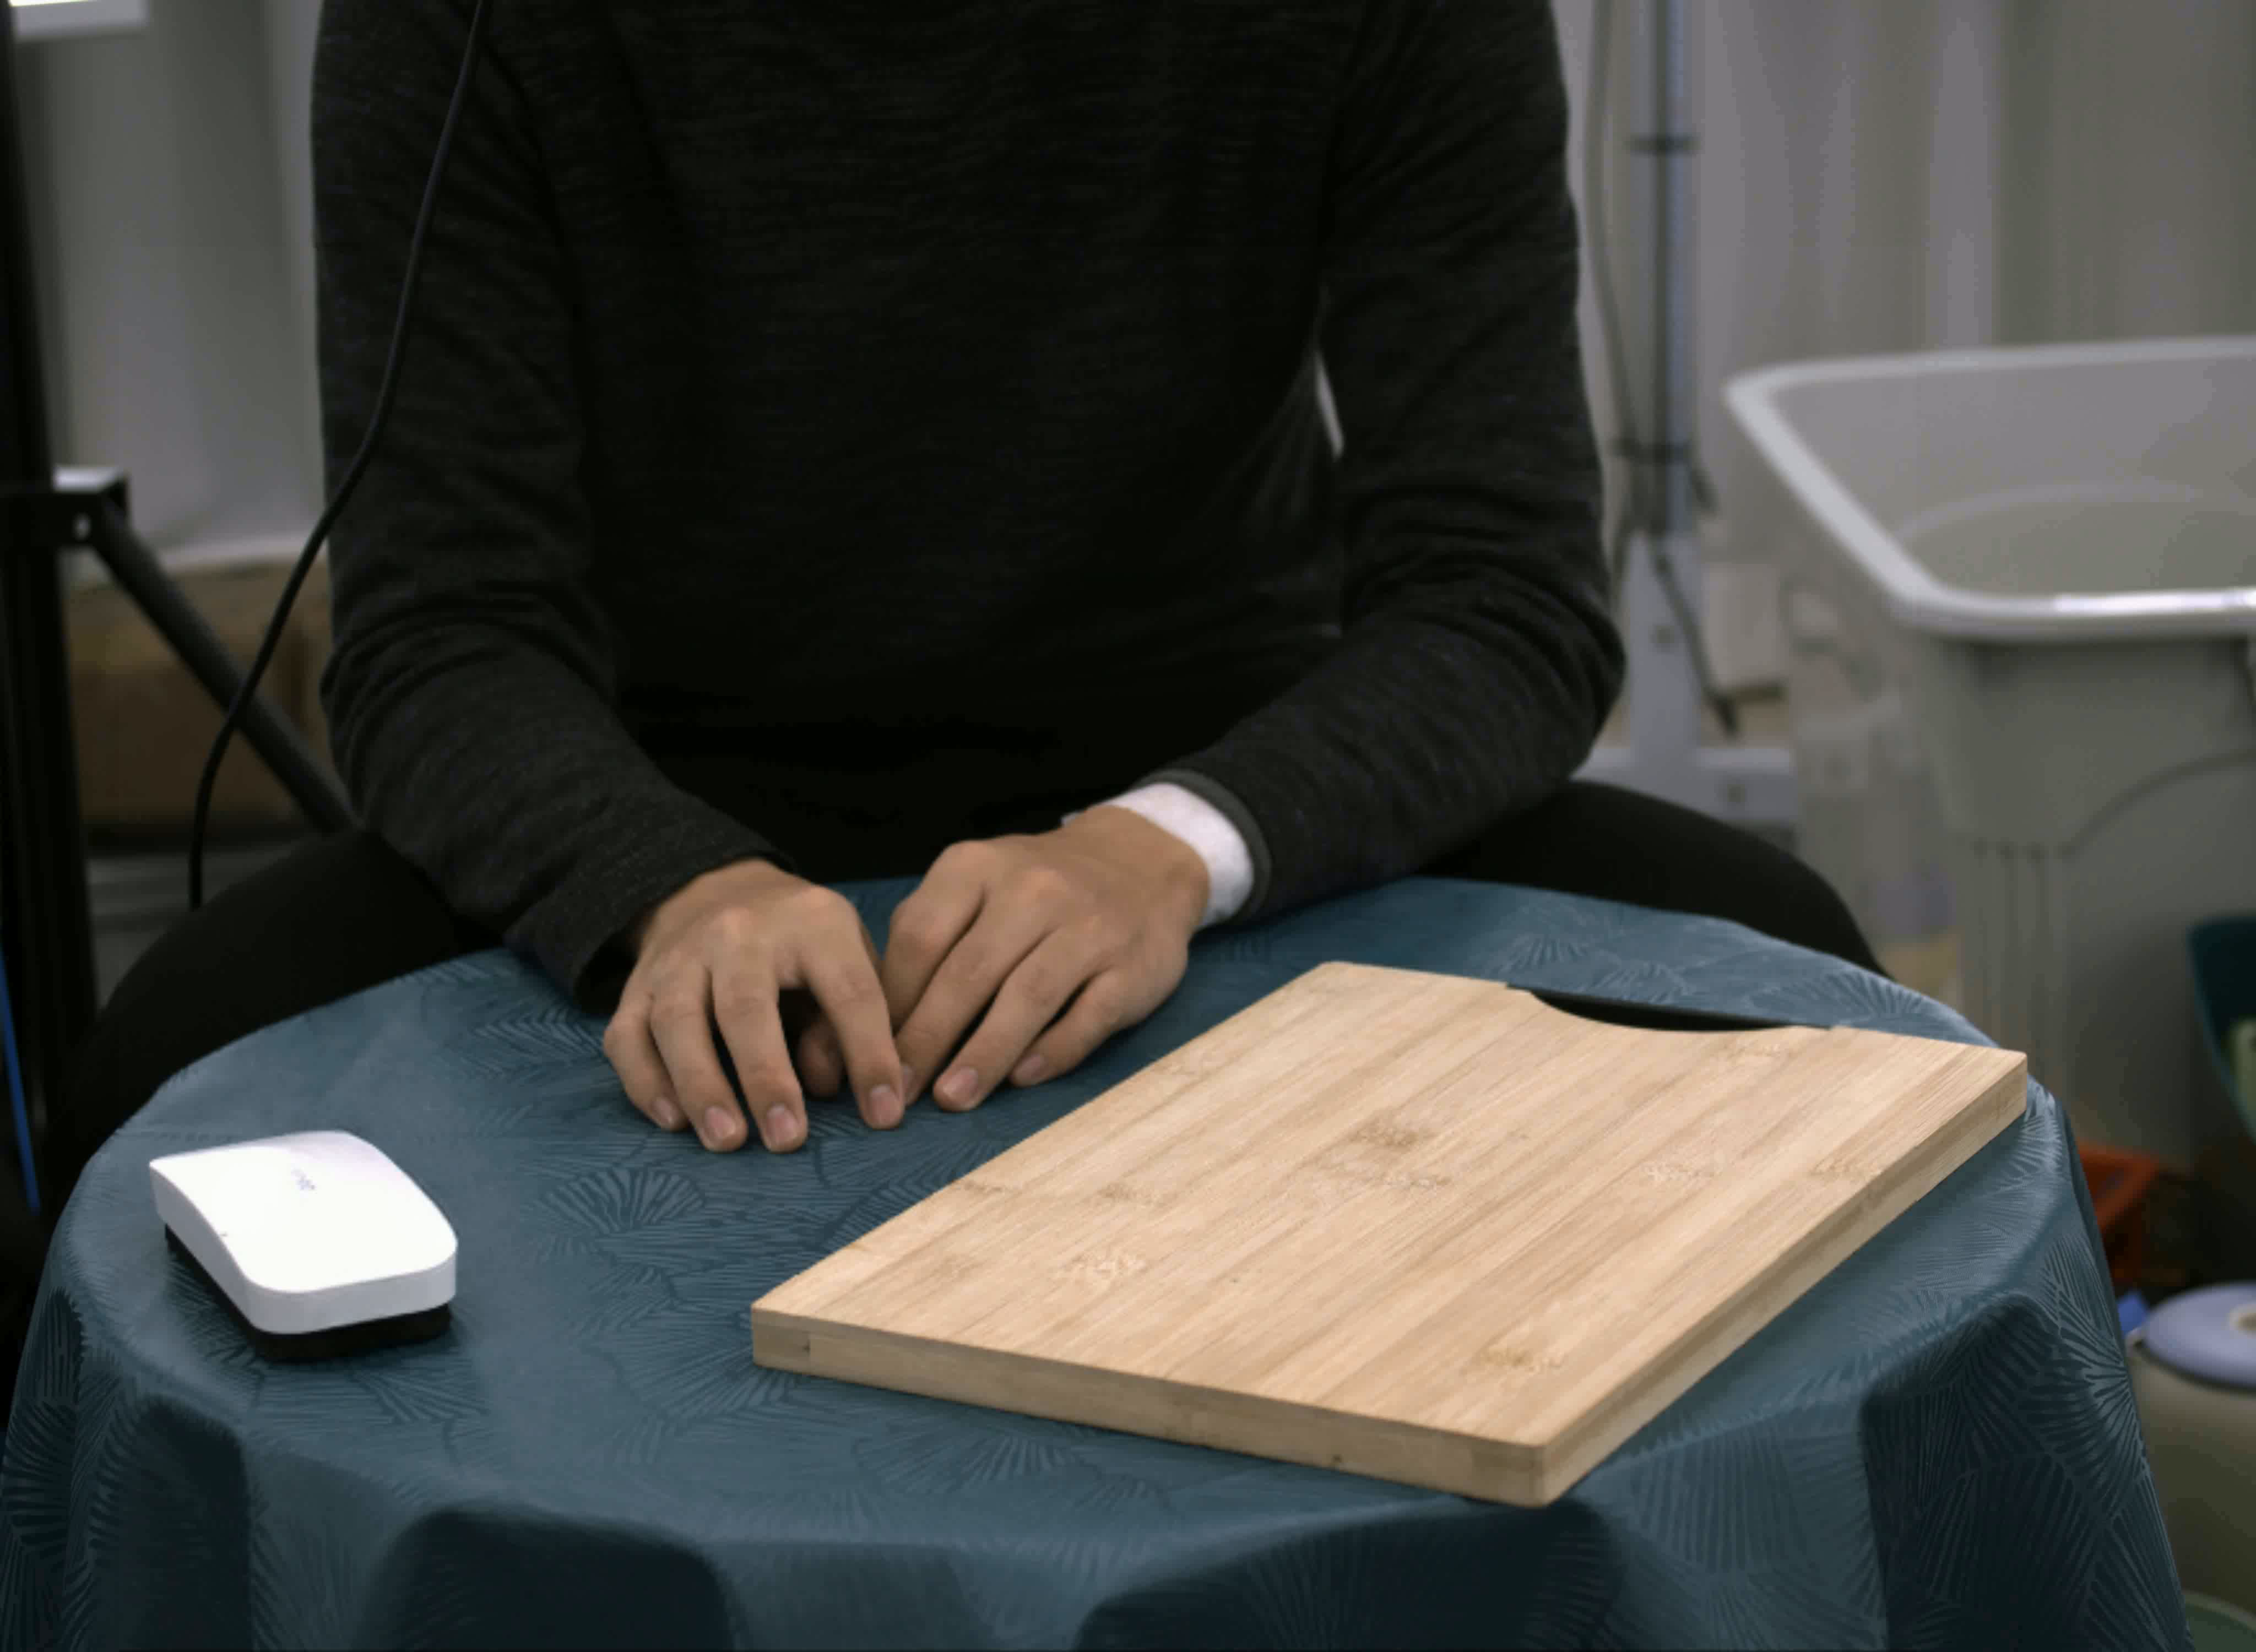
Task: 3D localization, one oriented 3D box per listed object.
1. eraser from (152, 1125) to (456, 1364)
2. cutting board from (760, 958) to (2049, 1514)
[{"bbox_3d":[-0.233,0.115,1.516,0.062,0.034,0.134,-9,18,-21],"label":"eraser"},{"bbox_3d":[0.088,0.107,1.516,0.255,0.023,0.342,7,18,29],"label":"cutting board"}]
